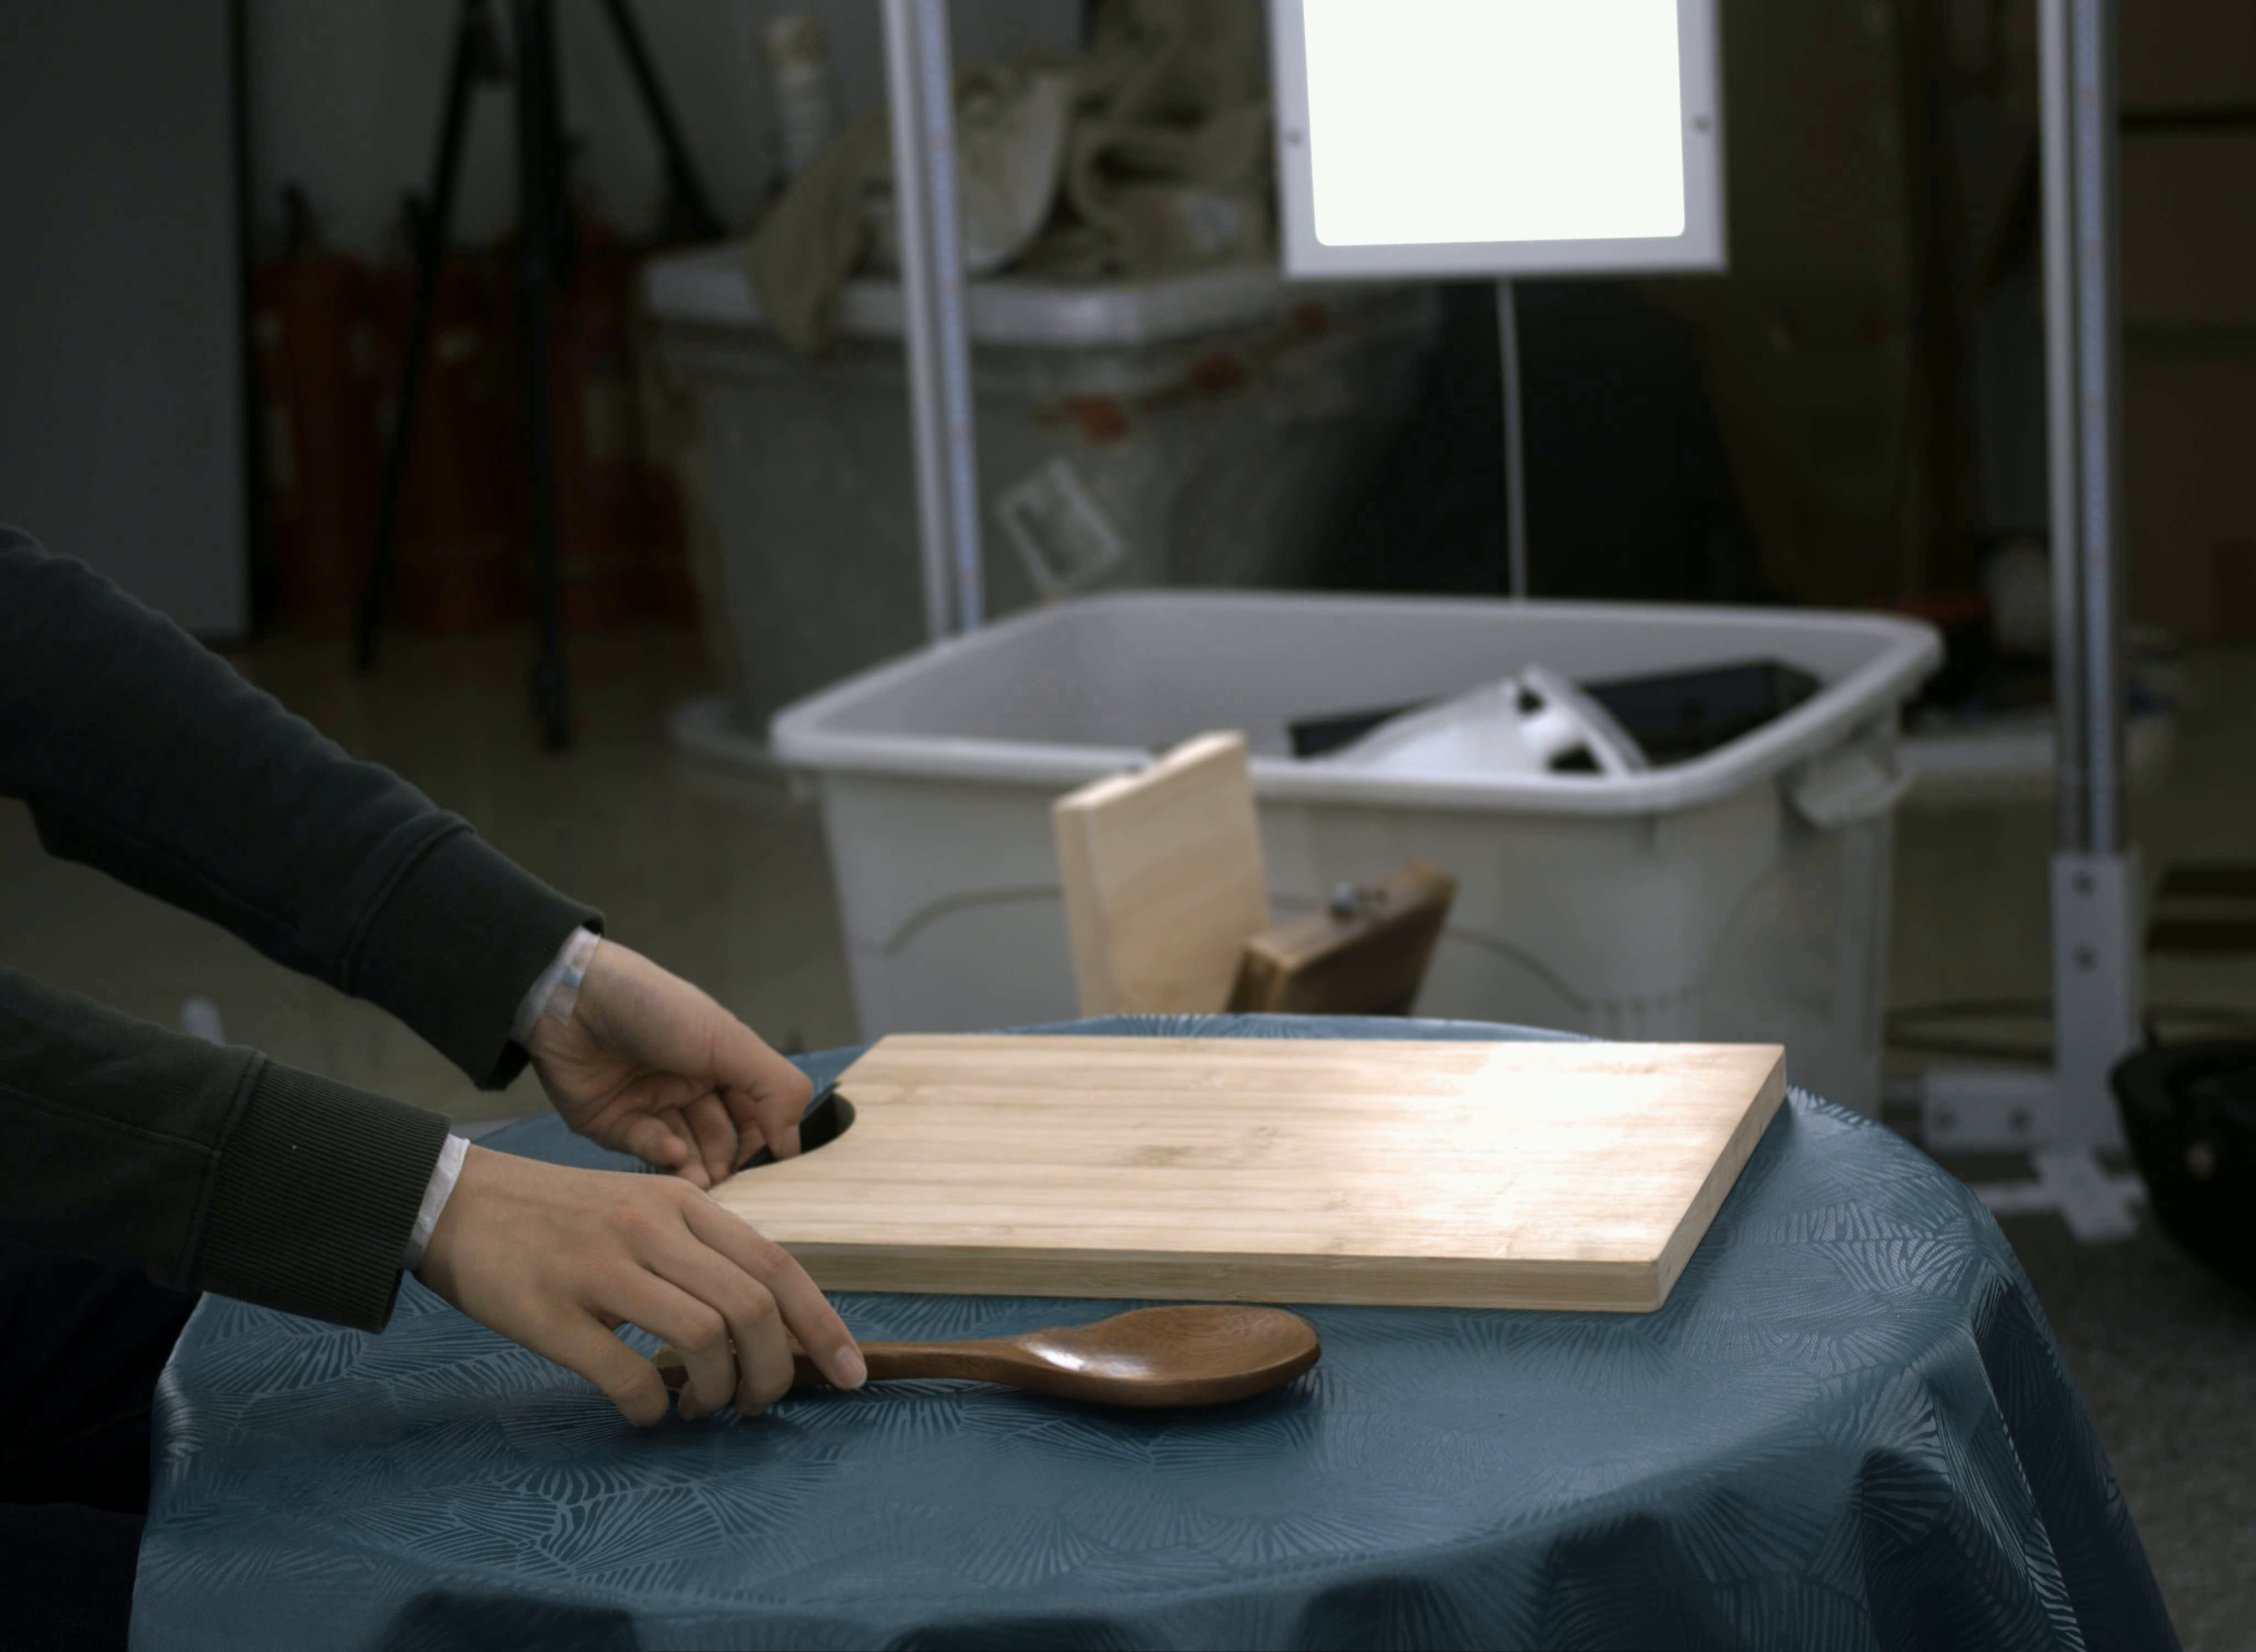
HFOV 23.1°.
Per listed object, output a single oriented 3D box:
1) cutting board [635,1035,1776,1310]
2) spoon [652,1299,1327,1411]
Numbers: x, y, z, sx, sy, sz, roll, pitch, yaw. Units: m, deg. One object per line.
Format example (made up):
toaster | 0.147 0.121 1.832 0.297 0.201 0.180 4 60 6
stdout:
cutting board | 0.033 0.116 1.894 0.353 0.023 0.247 0 14 18
spoon | -0.044 0.166 1.714 0.218 0.017 0.074 -1 16 14
